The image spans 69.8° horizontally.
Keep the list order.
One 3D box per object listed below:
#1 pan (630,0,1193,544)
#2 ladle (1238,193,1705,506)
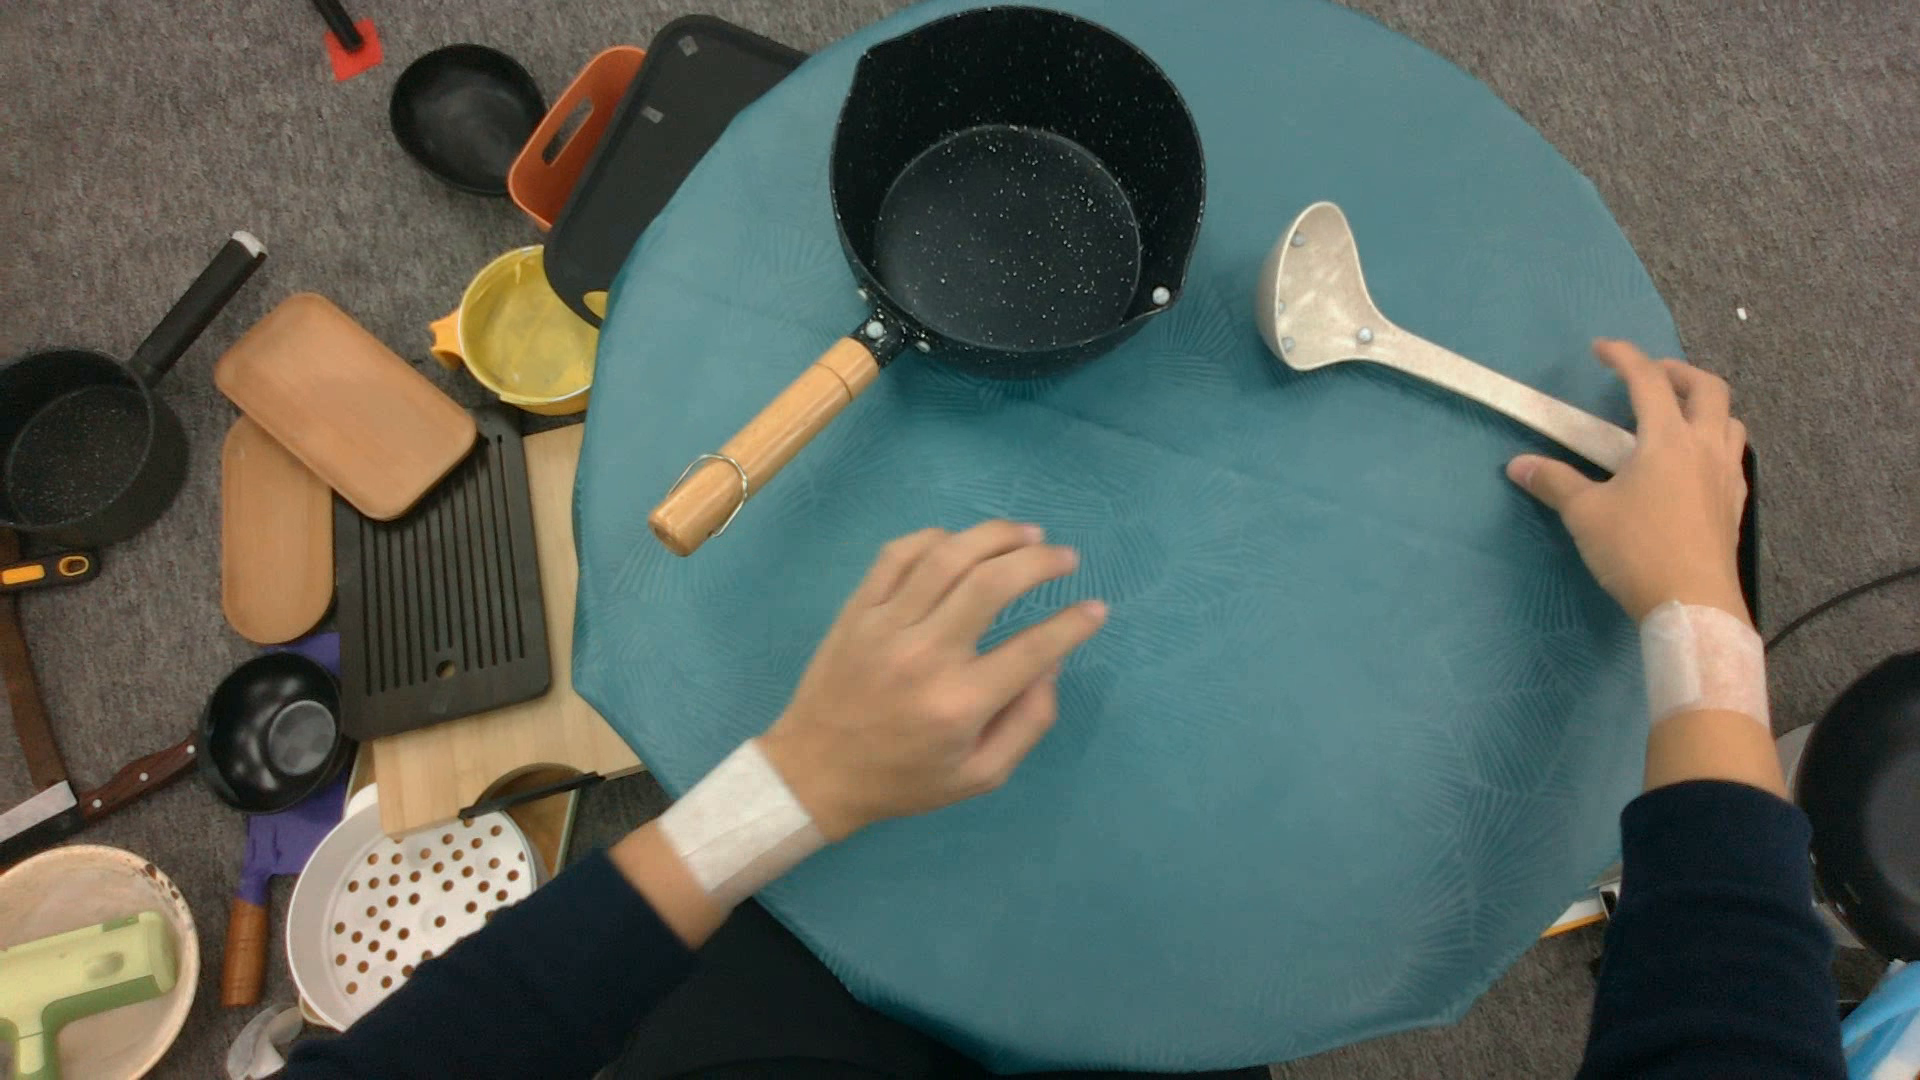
[{"bbox_3d":[-0.029,-0.117,0.682,0.207,0.108,0.343,38,76,6],"label":"pan"},{"bbox_3d":[0.273,-0.092,0.710,0.275,0.069,0.089,25,66,4],"label":"ladle"}]
